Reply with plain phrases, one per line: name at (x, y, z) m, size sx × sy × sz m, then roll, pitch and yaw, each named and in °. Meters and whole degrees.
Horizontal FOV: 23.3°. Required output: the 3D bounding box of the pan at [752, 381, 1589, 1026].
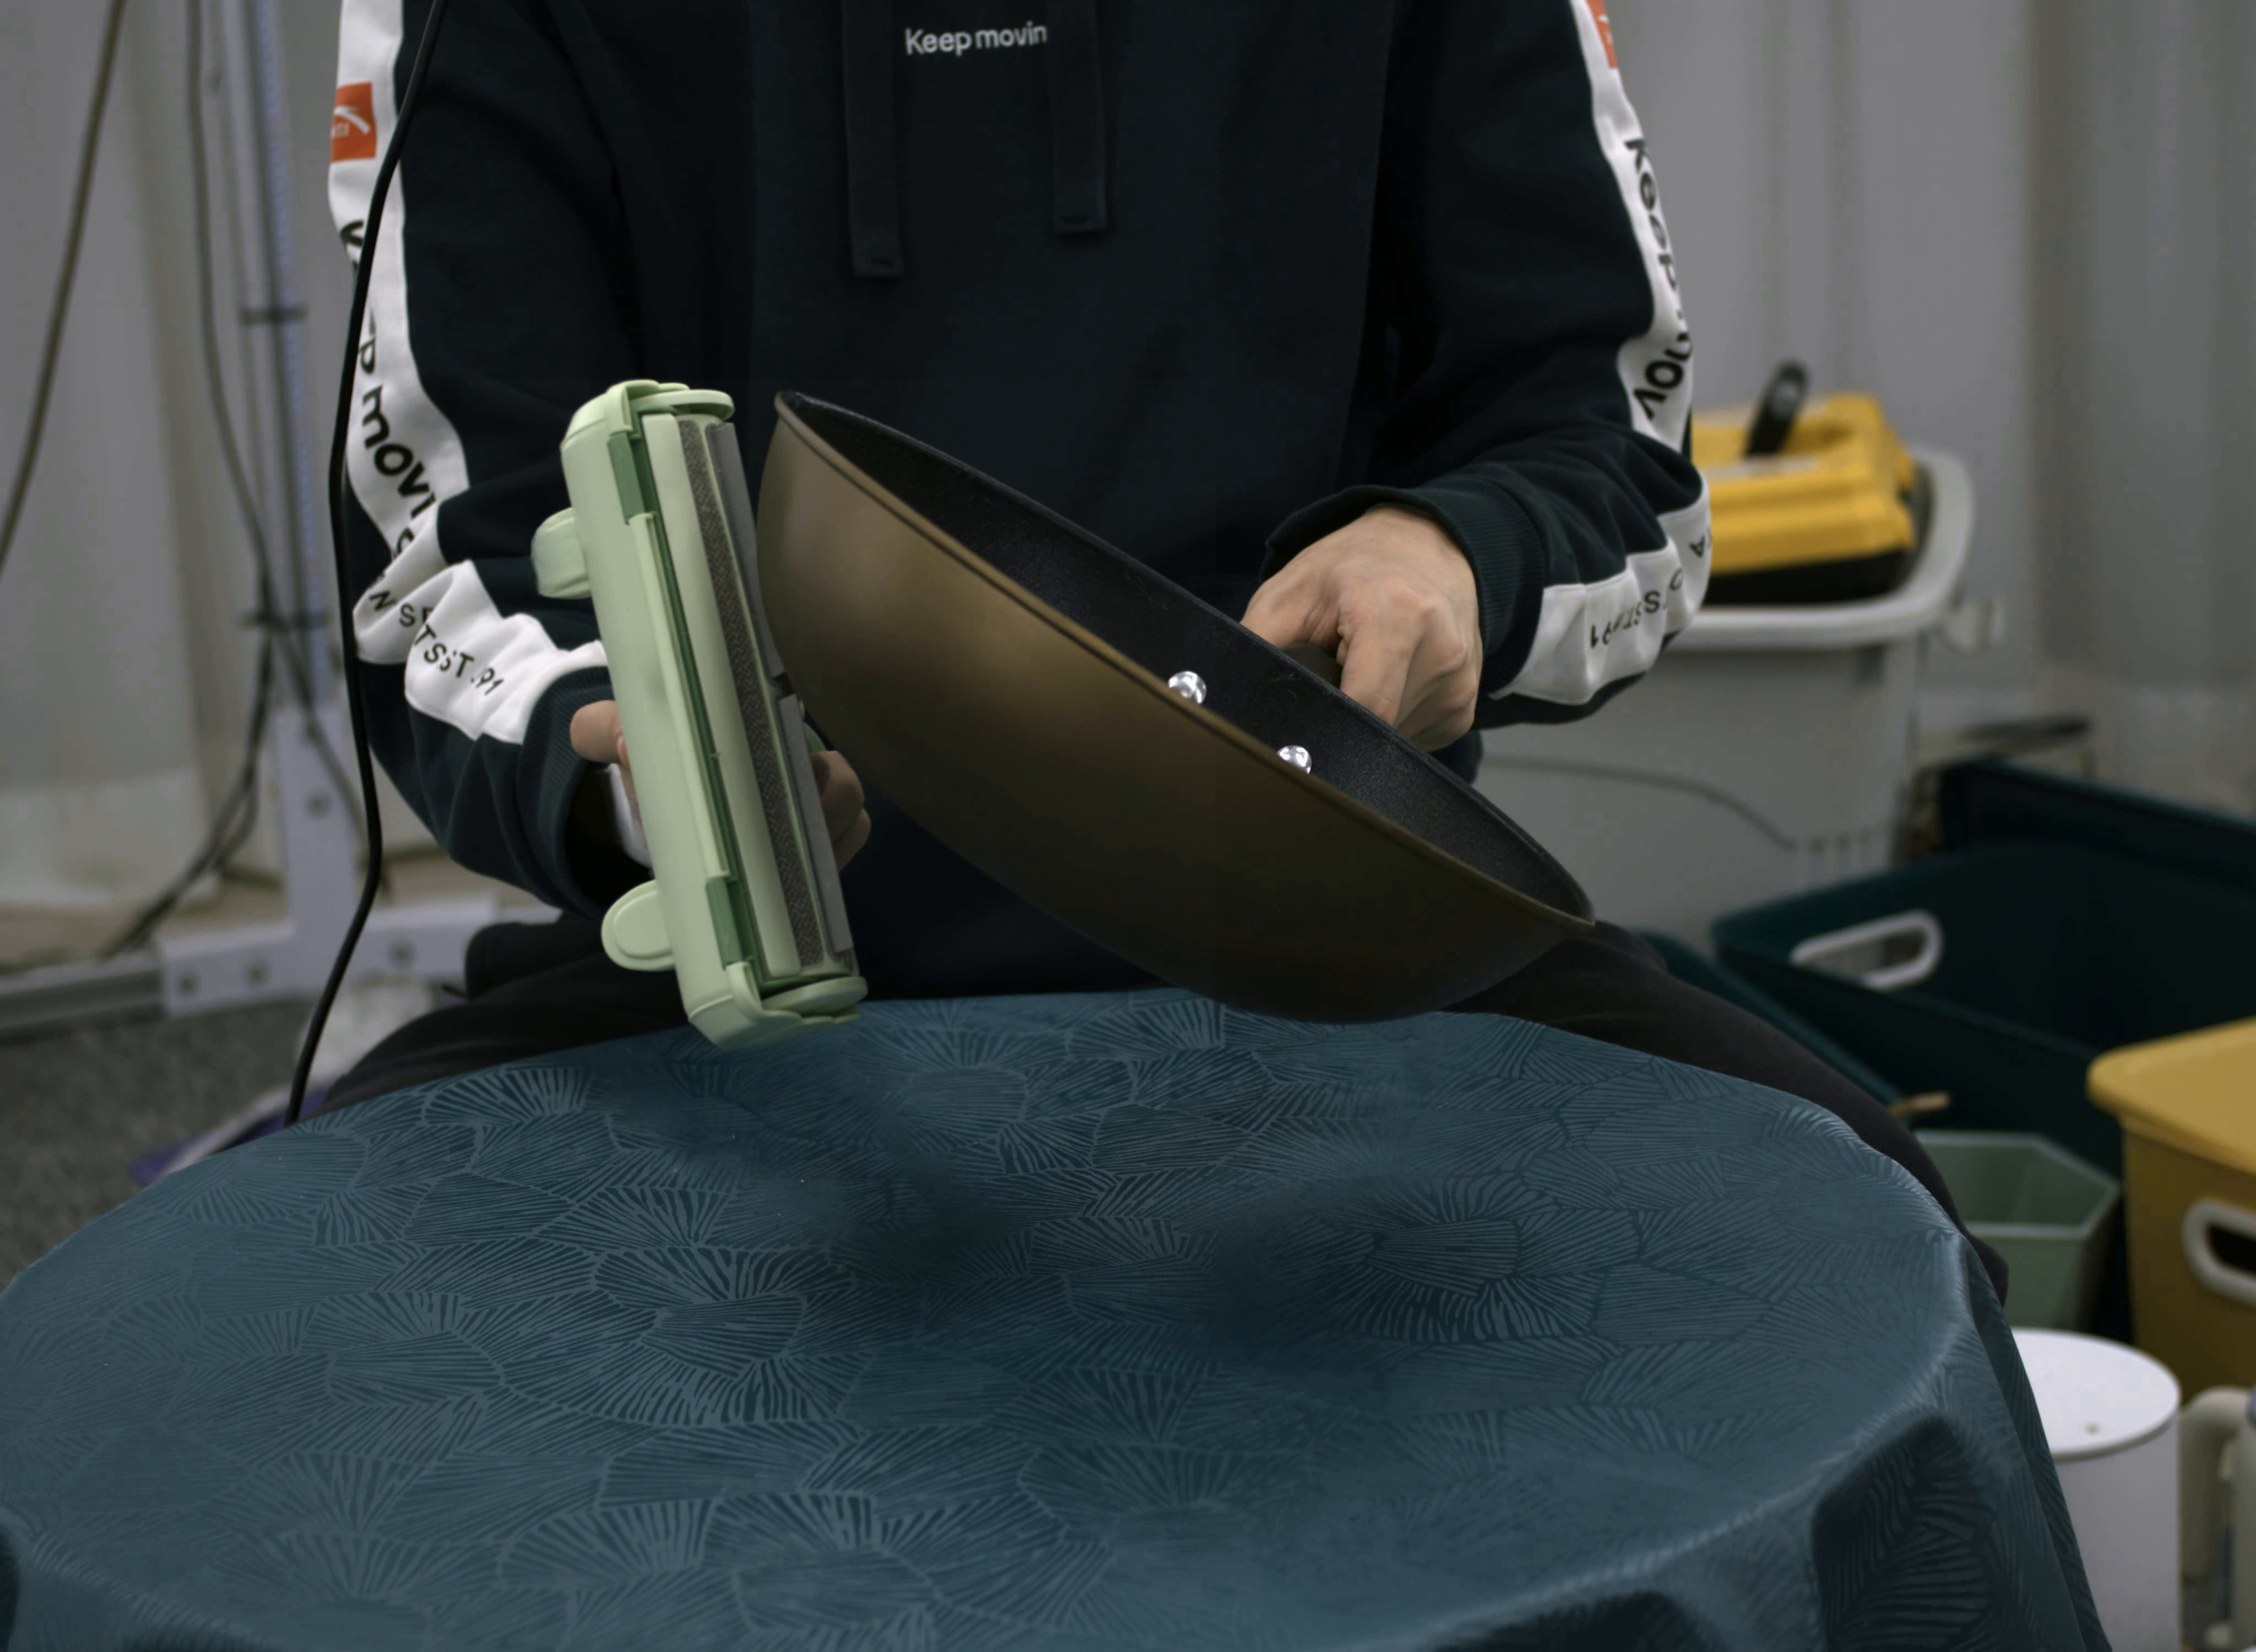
pan at (0.018, -0.021, 1.692) m, size 0.289 × 0.087 × 0.462 m, roll 34°, pitch 7°, yaw 12°

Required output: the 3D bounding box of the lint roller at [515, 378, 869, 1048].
lint roller at (-0.132, -0.020, 1.669) m, size 0.082 × 0.200 × 0.182 m, roll -13°, pitch -12°, yaw -6°
